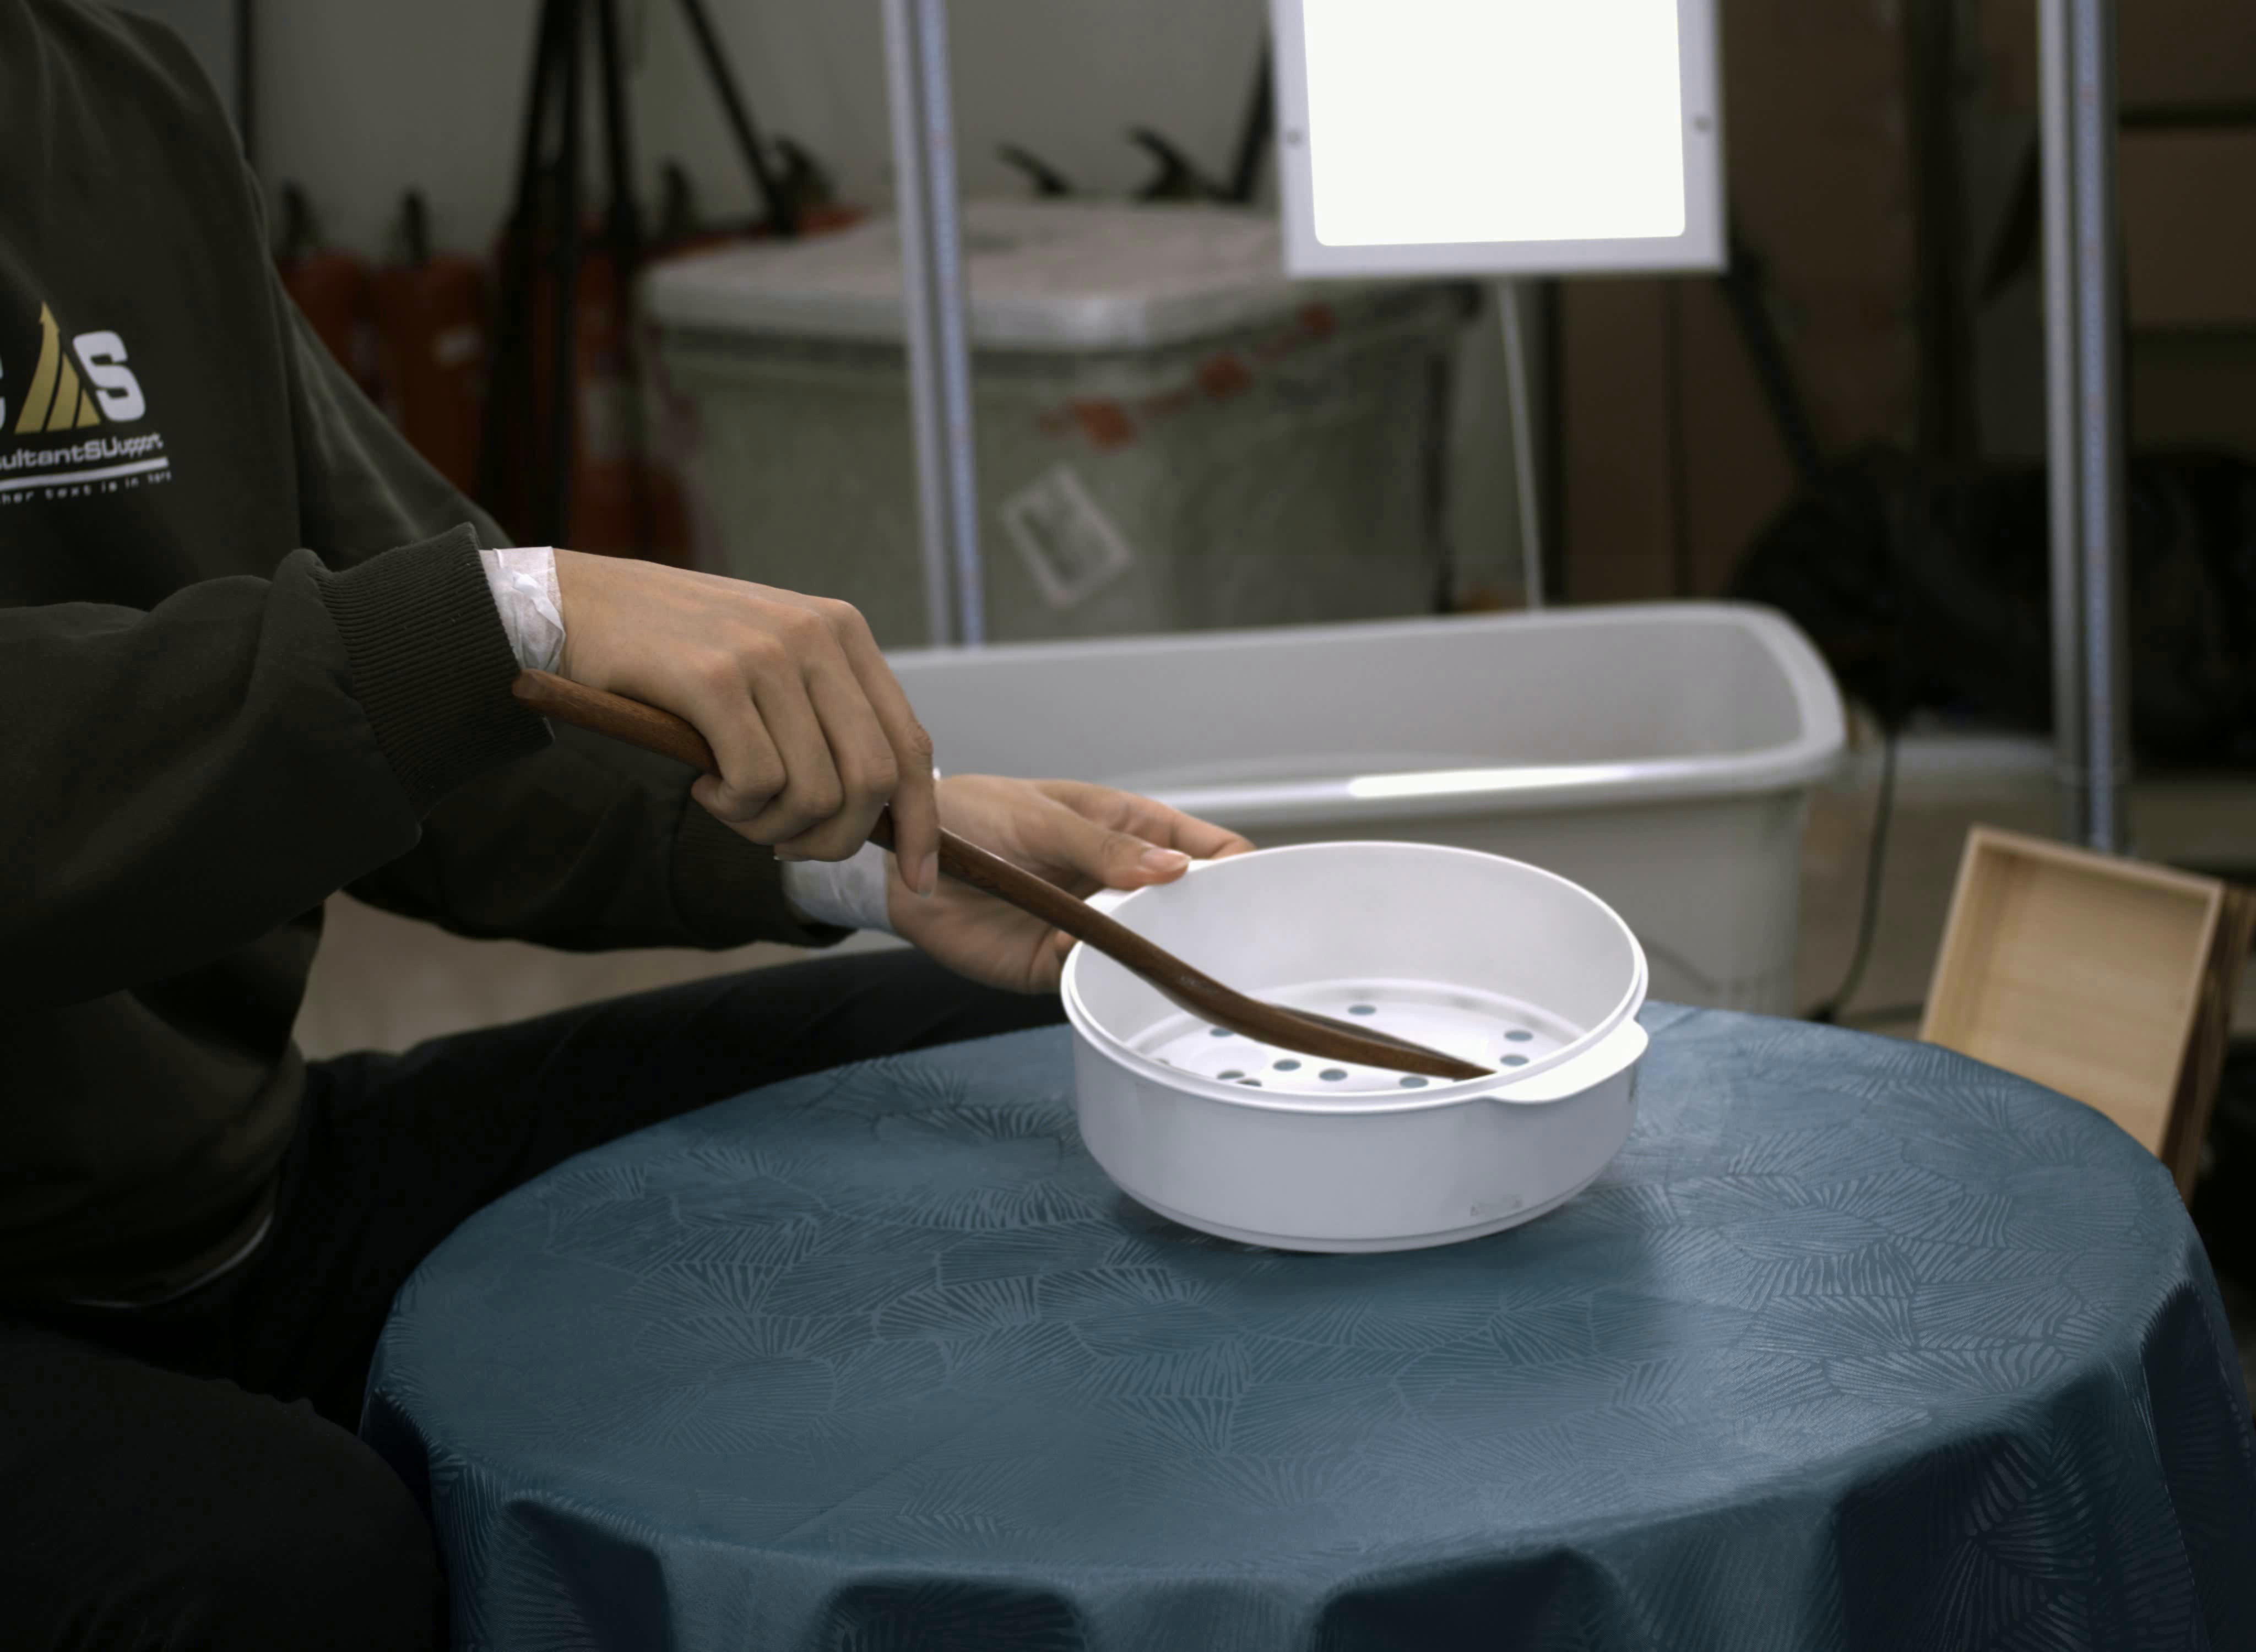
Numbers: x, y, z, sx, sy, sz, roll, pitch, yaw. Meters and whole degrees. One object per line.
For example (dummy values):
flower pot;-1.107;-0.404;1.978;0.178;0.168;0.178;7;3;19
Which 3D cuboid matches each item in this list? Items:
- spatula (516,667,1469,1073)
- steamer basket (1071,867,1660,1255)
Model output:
spatula;-0.038;0.022;1.774;0.378;0.024;0.087;25;-3;-33
steamer basket;0.082;0.080;1.882;0.197;0.069;0.235;-22;27;-38
